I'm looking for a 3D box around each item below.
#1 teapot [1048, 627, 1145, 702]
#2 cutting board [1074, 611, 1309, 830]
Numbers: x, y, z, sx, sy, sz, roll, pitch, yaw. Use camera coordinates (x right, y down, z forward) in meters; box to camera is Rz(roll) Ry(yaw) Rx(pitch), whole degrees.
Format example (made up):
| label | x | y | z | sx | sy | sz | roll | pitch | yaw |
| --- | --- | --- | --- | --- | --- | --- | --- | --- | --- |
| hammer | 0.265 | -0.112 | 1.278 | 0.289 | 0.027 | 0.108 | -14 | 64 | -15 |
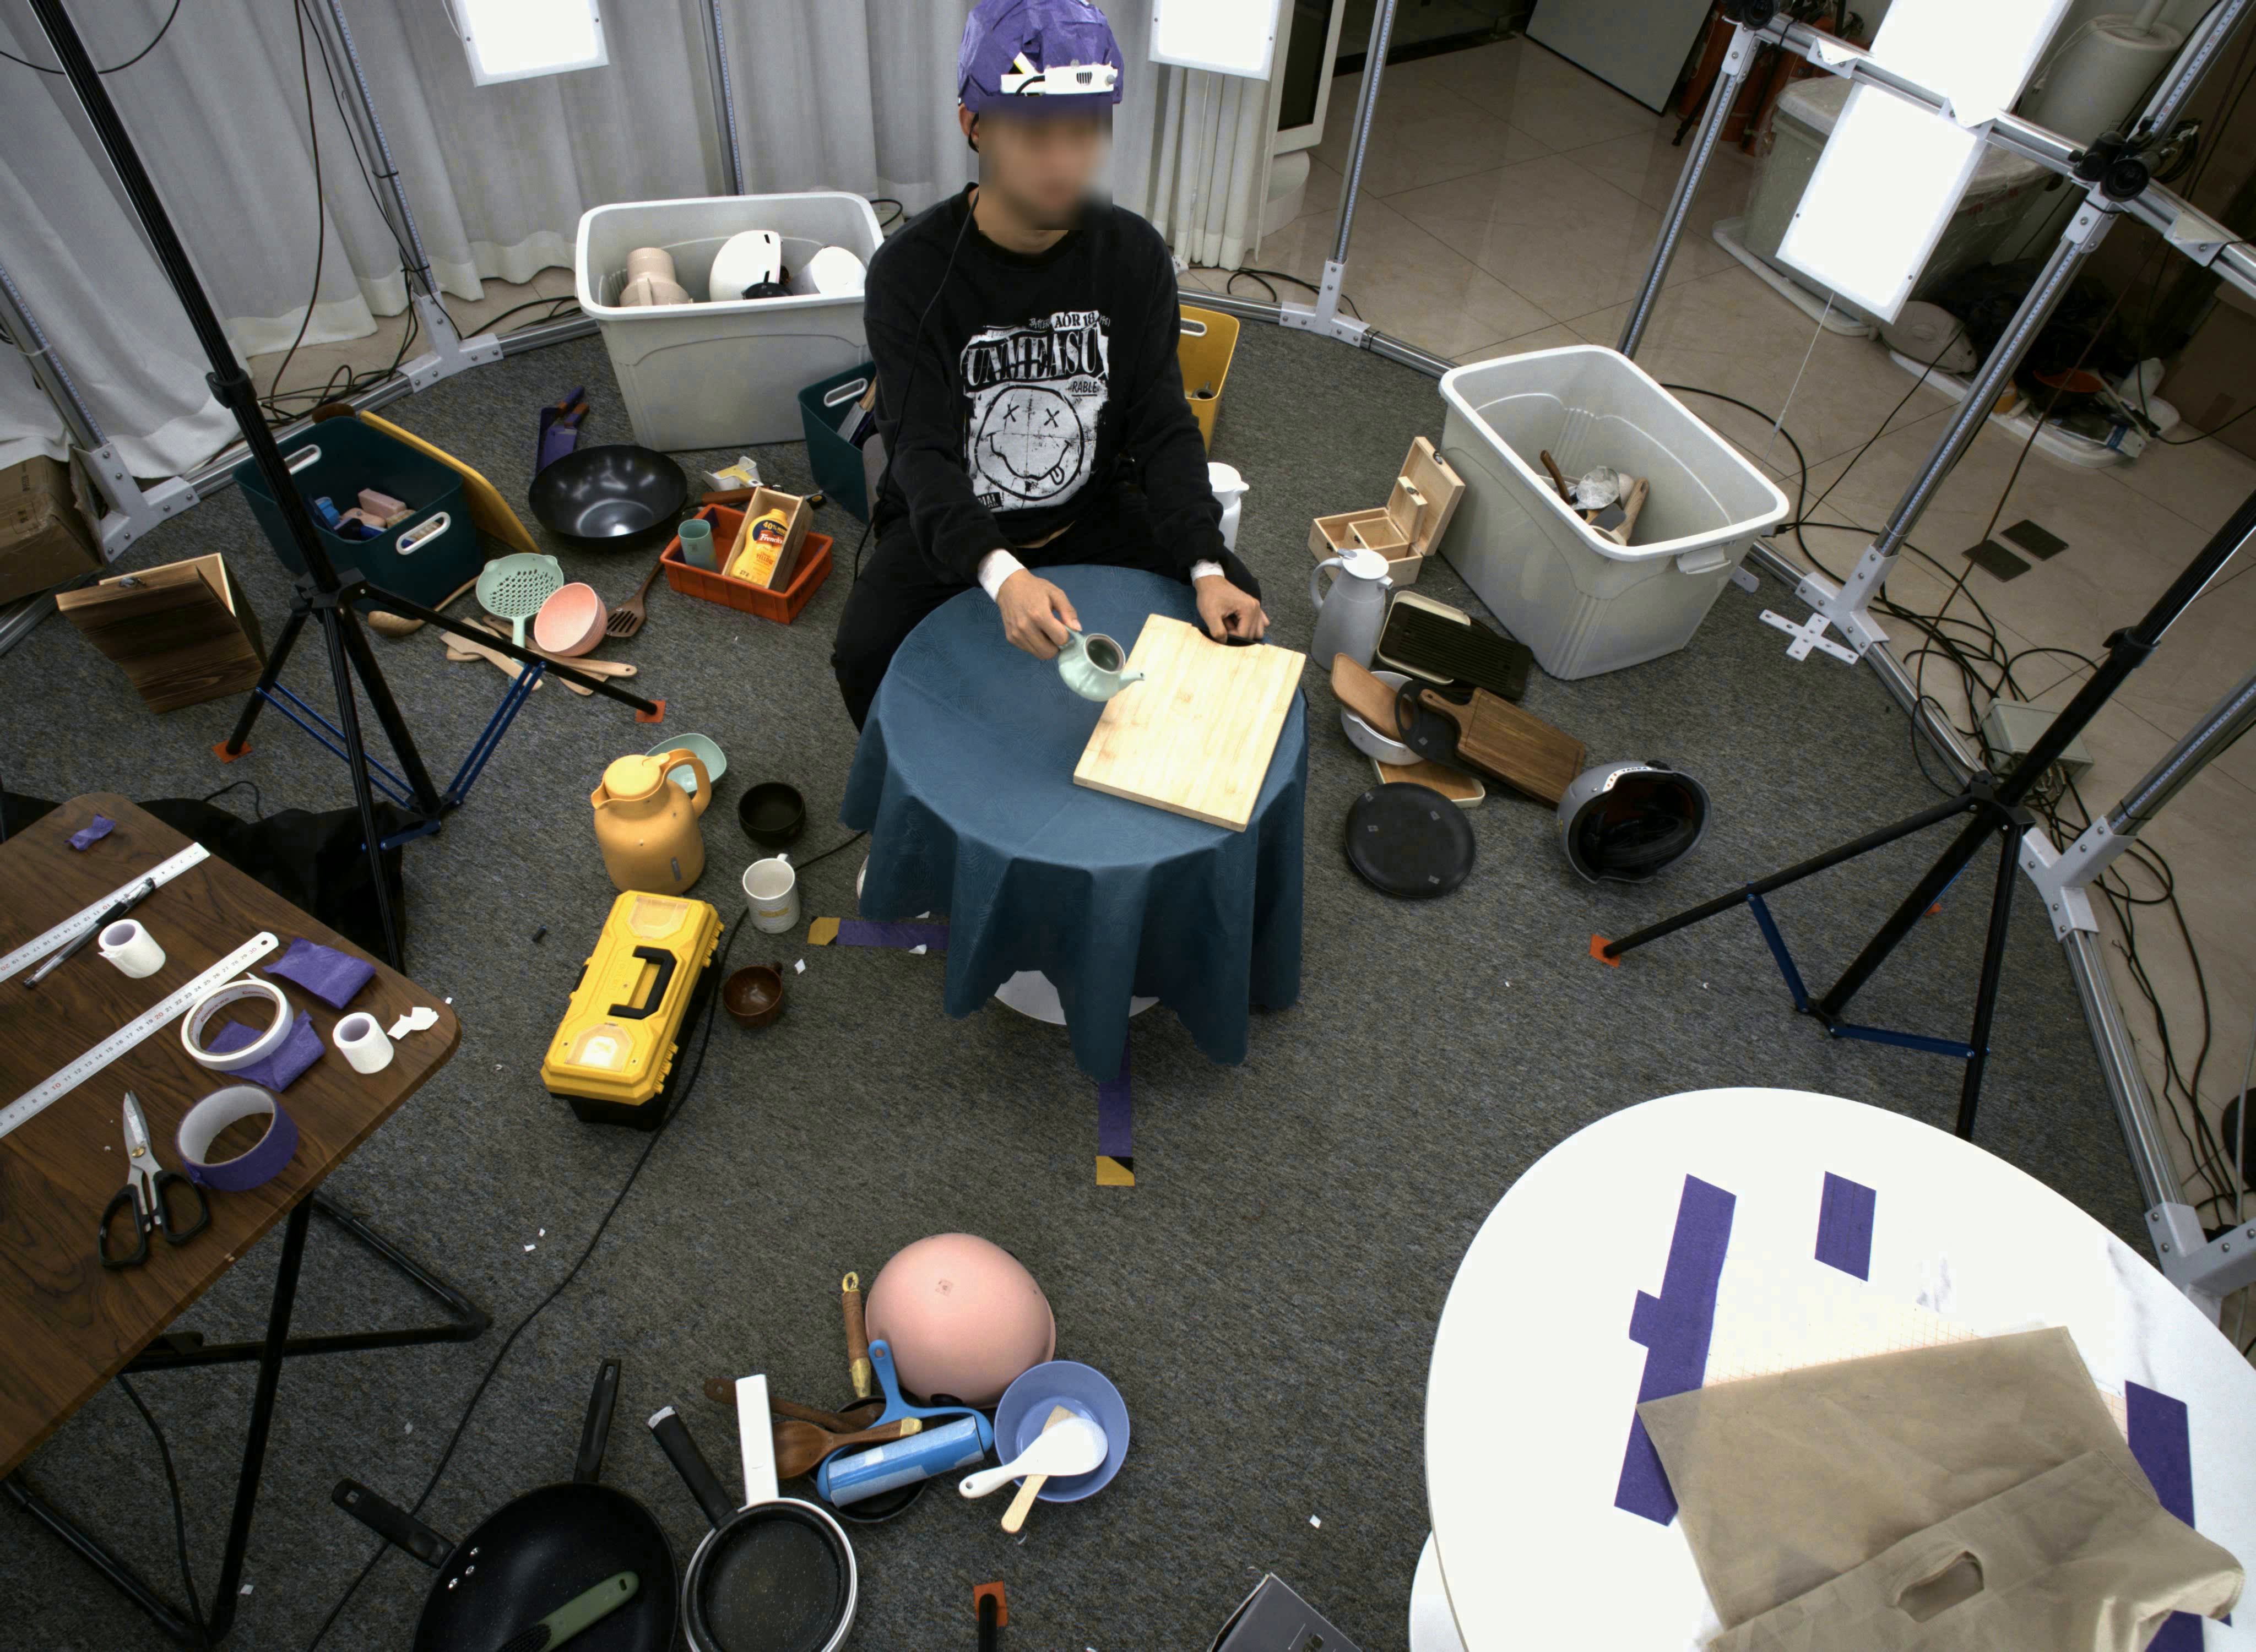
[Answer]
| label | x | y | z | sx | sy | sz | roll | pitch | yaw |
| --- | --- | --- | --- | --- | --- | --- | --- | --- | --- |
| teapot | -0.049 | -0.217 | 1.699 | 0.136 | 0.060 | 0.098 | 30 | 51 | -13 |
| cutting board | 0.095 | -0.158 | 1.796 | 0.251 | 0.023 | 0.356 | 15 | 51 | 9 |
